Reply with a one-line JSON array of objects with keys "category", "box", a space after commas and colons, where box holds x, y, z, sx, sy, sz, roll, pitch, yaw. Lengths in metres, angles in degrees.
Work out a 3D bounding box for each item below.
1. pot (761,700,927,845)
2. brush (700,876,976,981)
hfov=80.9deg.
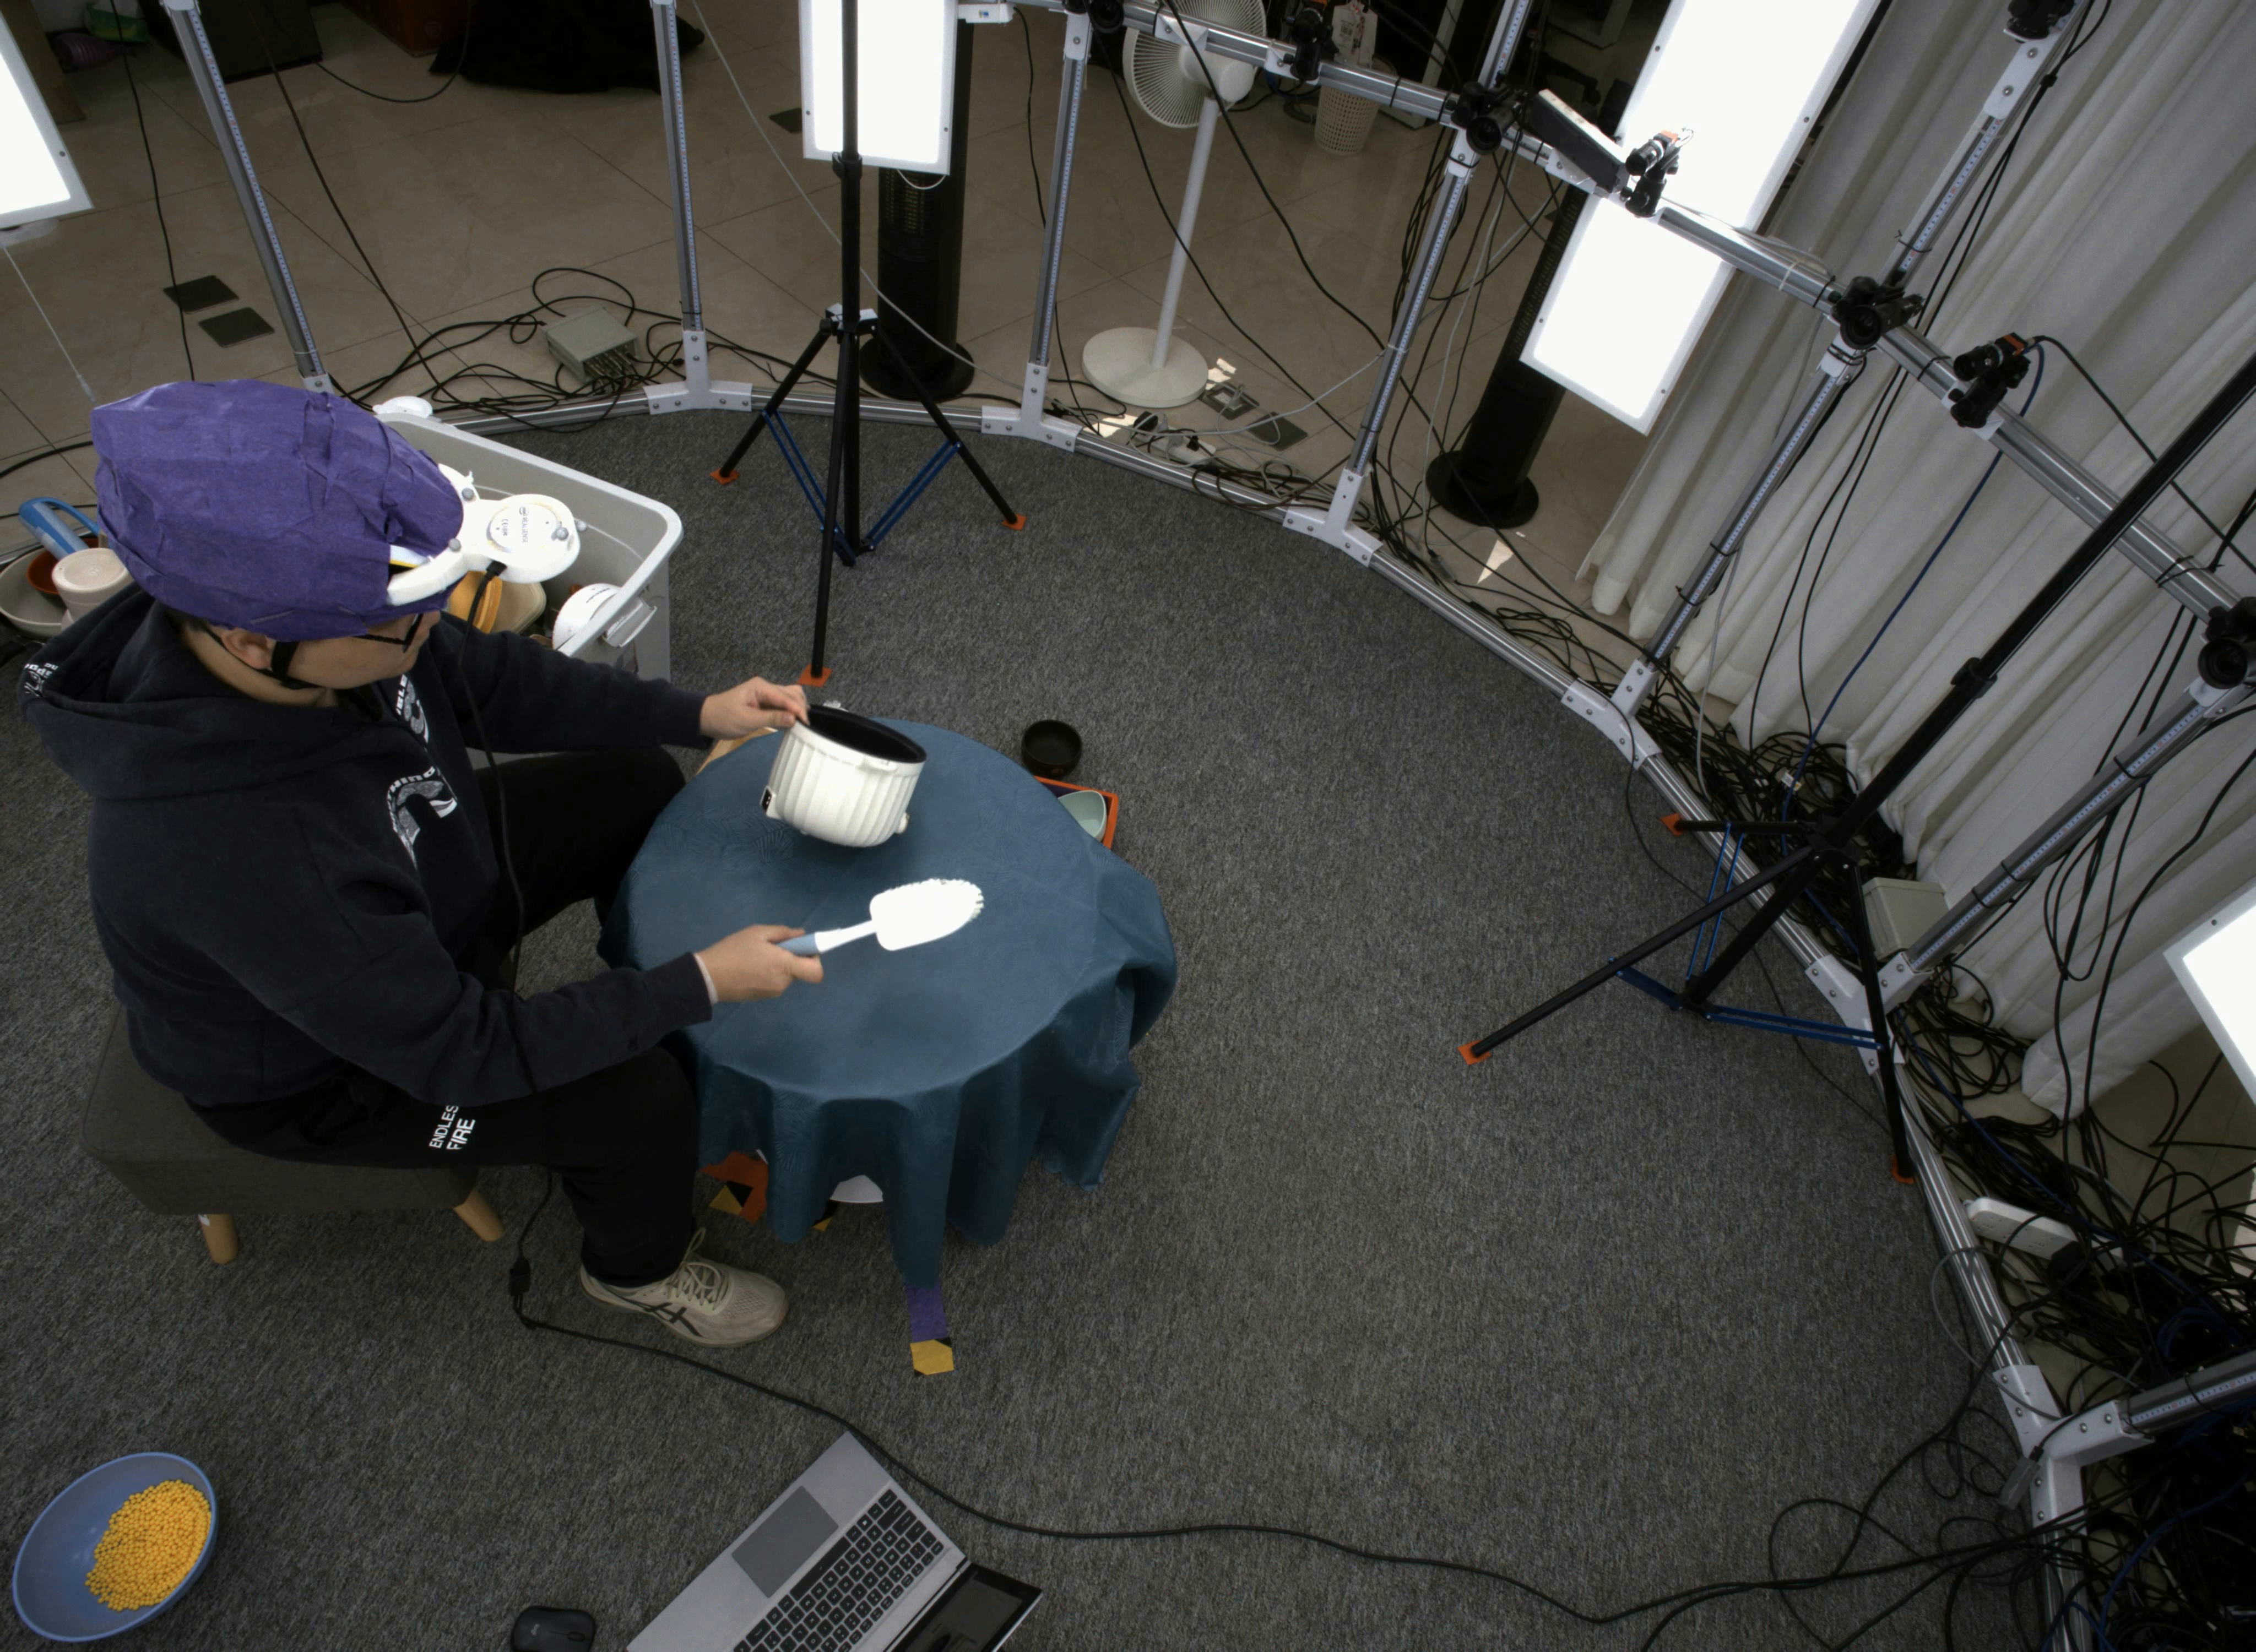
[{"category": "pot", "box": [-0.361, -0.064, 1.666, 0.195, 0.145, 0.231, 11, 17, -34]}, {"category": "brush", "box": [-0.333, 0.116, 1.501, 0.323, 0.087, 0.081, -15, 57, -3]}]
